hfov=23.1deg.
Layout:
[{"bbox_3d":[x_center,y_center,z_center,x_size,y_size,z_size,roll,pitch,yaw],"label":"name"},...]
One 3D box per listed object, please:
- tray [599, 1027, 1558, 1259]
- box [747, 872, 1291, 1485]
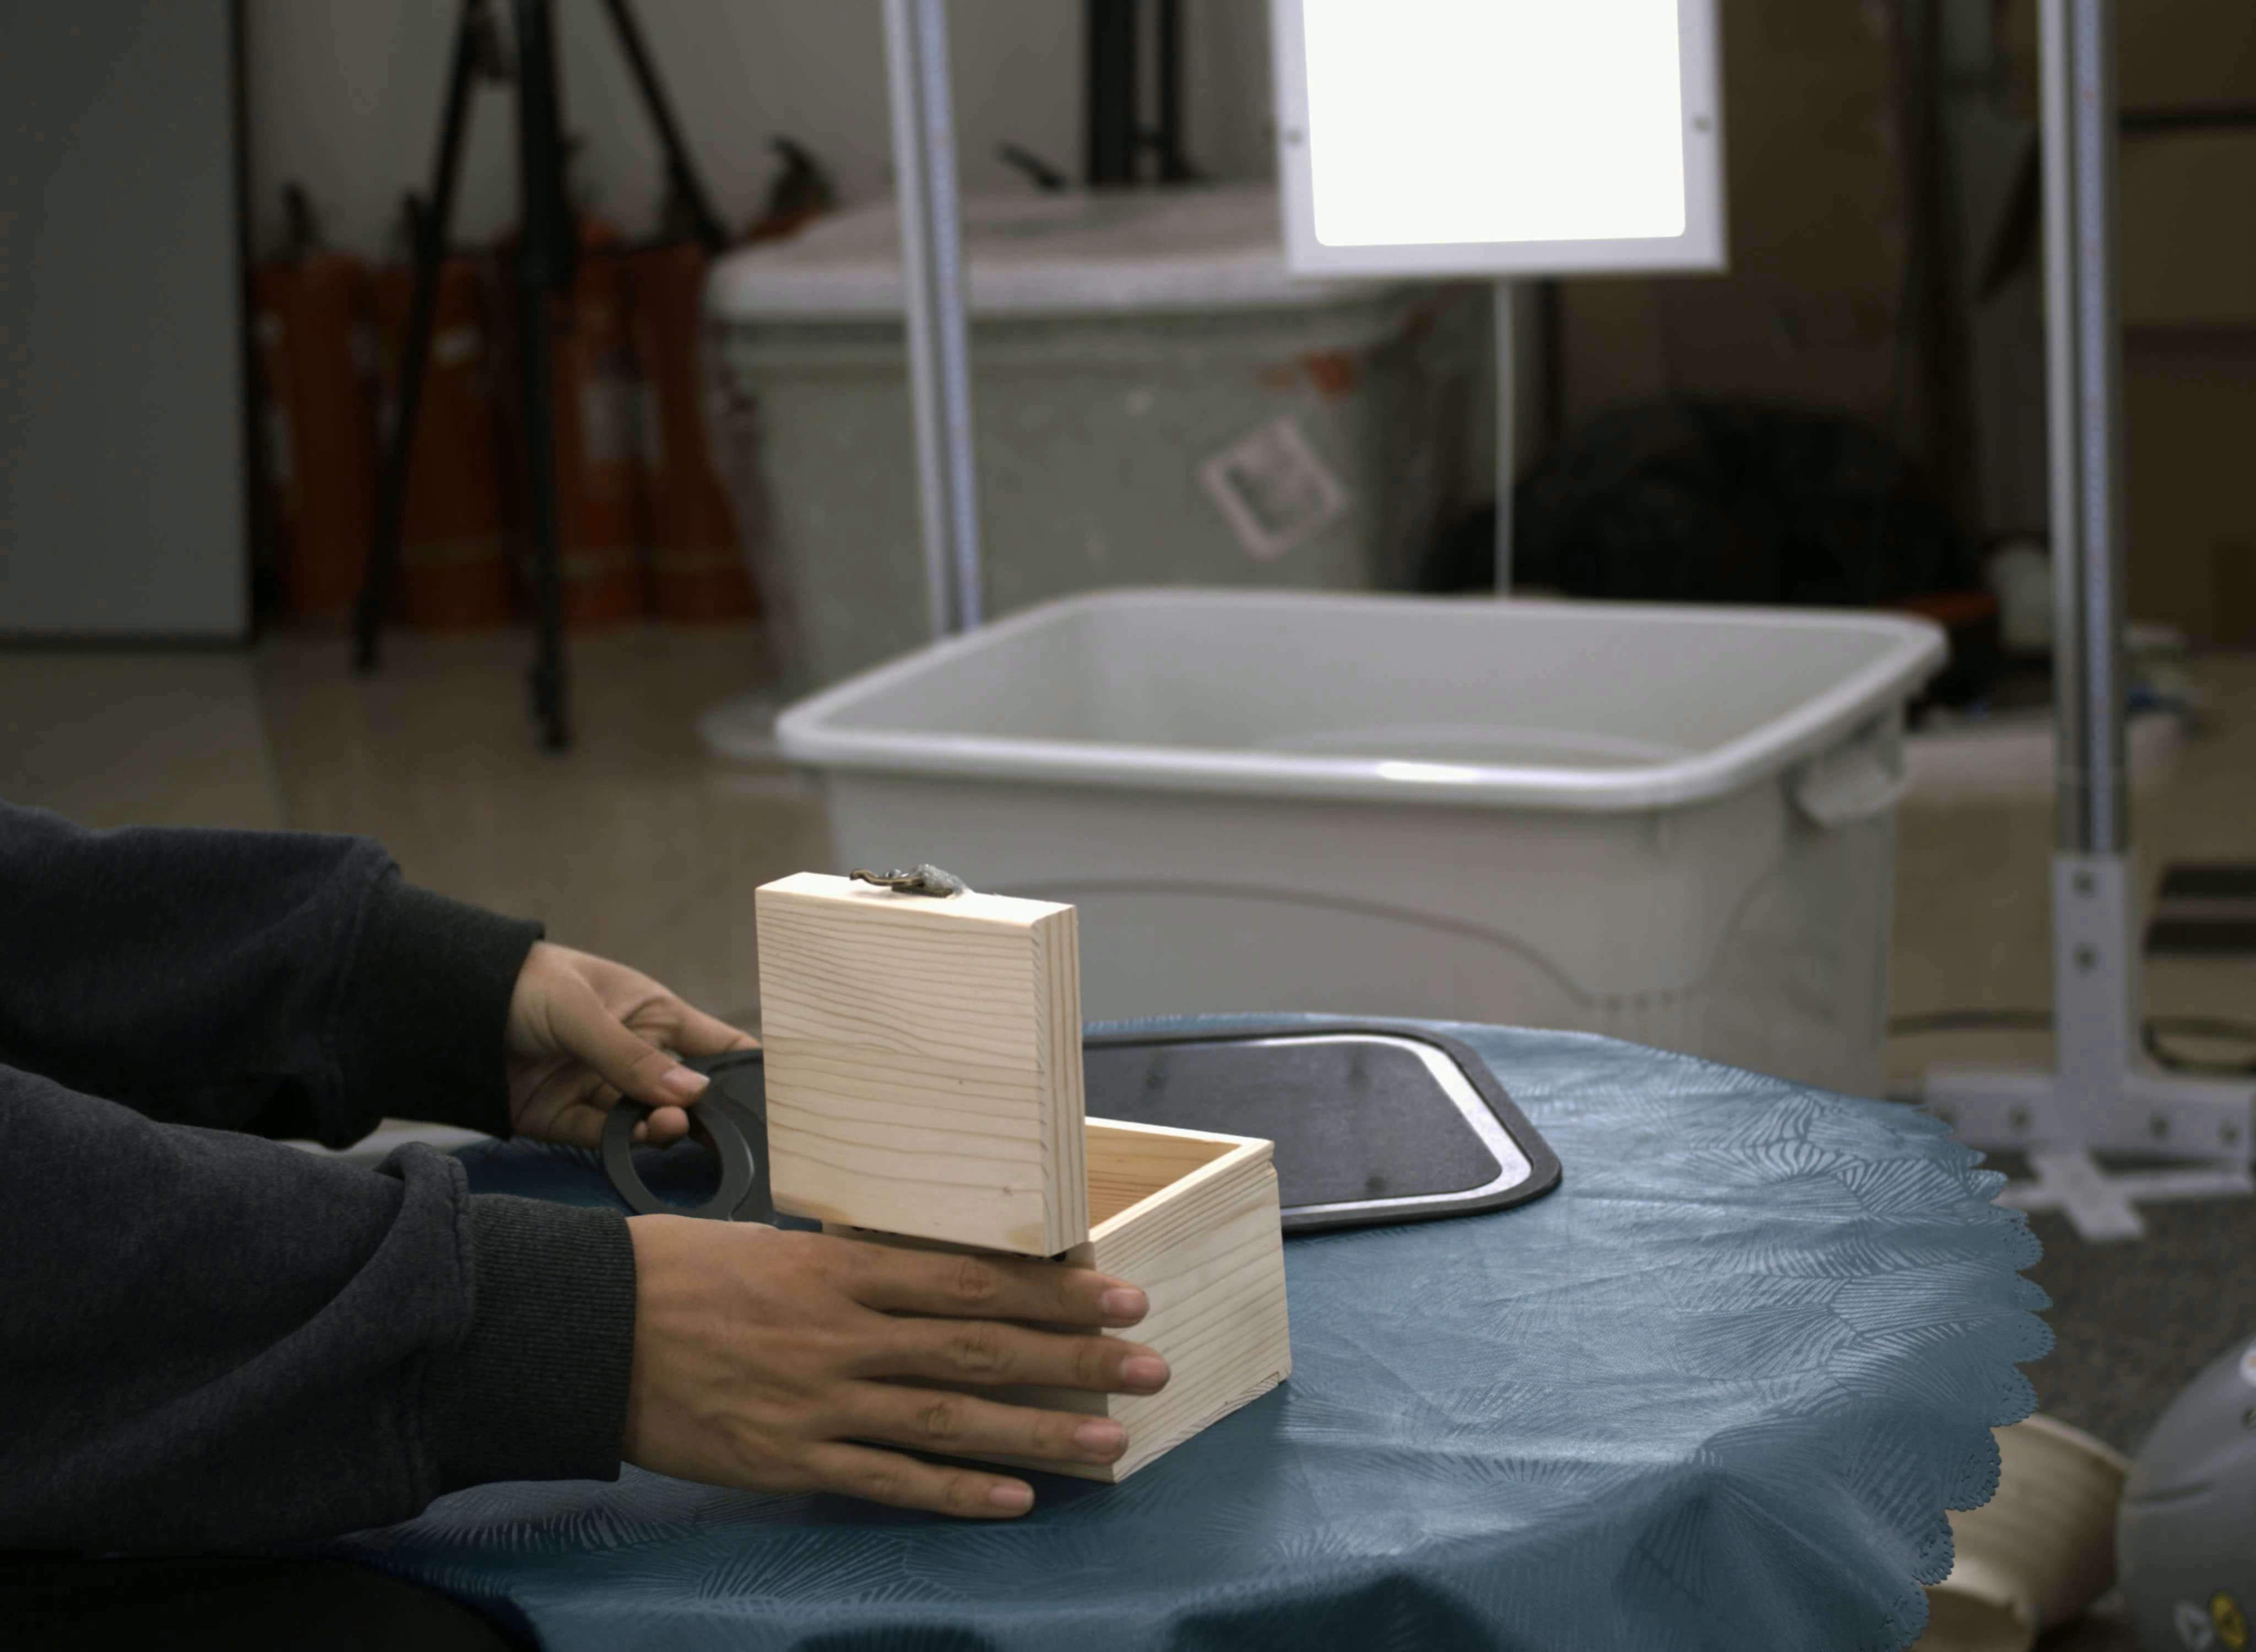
[{"bbox_3d":[-0.021,0.107,1.921,0.323,0.010,0.212,-3,16,-7],"label":"tray"},{"bbox_3d":[-0.030,0.092,1.659,0.104,0.185,0.131,5,19,34],"label":"box"}]
